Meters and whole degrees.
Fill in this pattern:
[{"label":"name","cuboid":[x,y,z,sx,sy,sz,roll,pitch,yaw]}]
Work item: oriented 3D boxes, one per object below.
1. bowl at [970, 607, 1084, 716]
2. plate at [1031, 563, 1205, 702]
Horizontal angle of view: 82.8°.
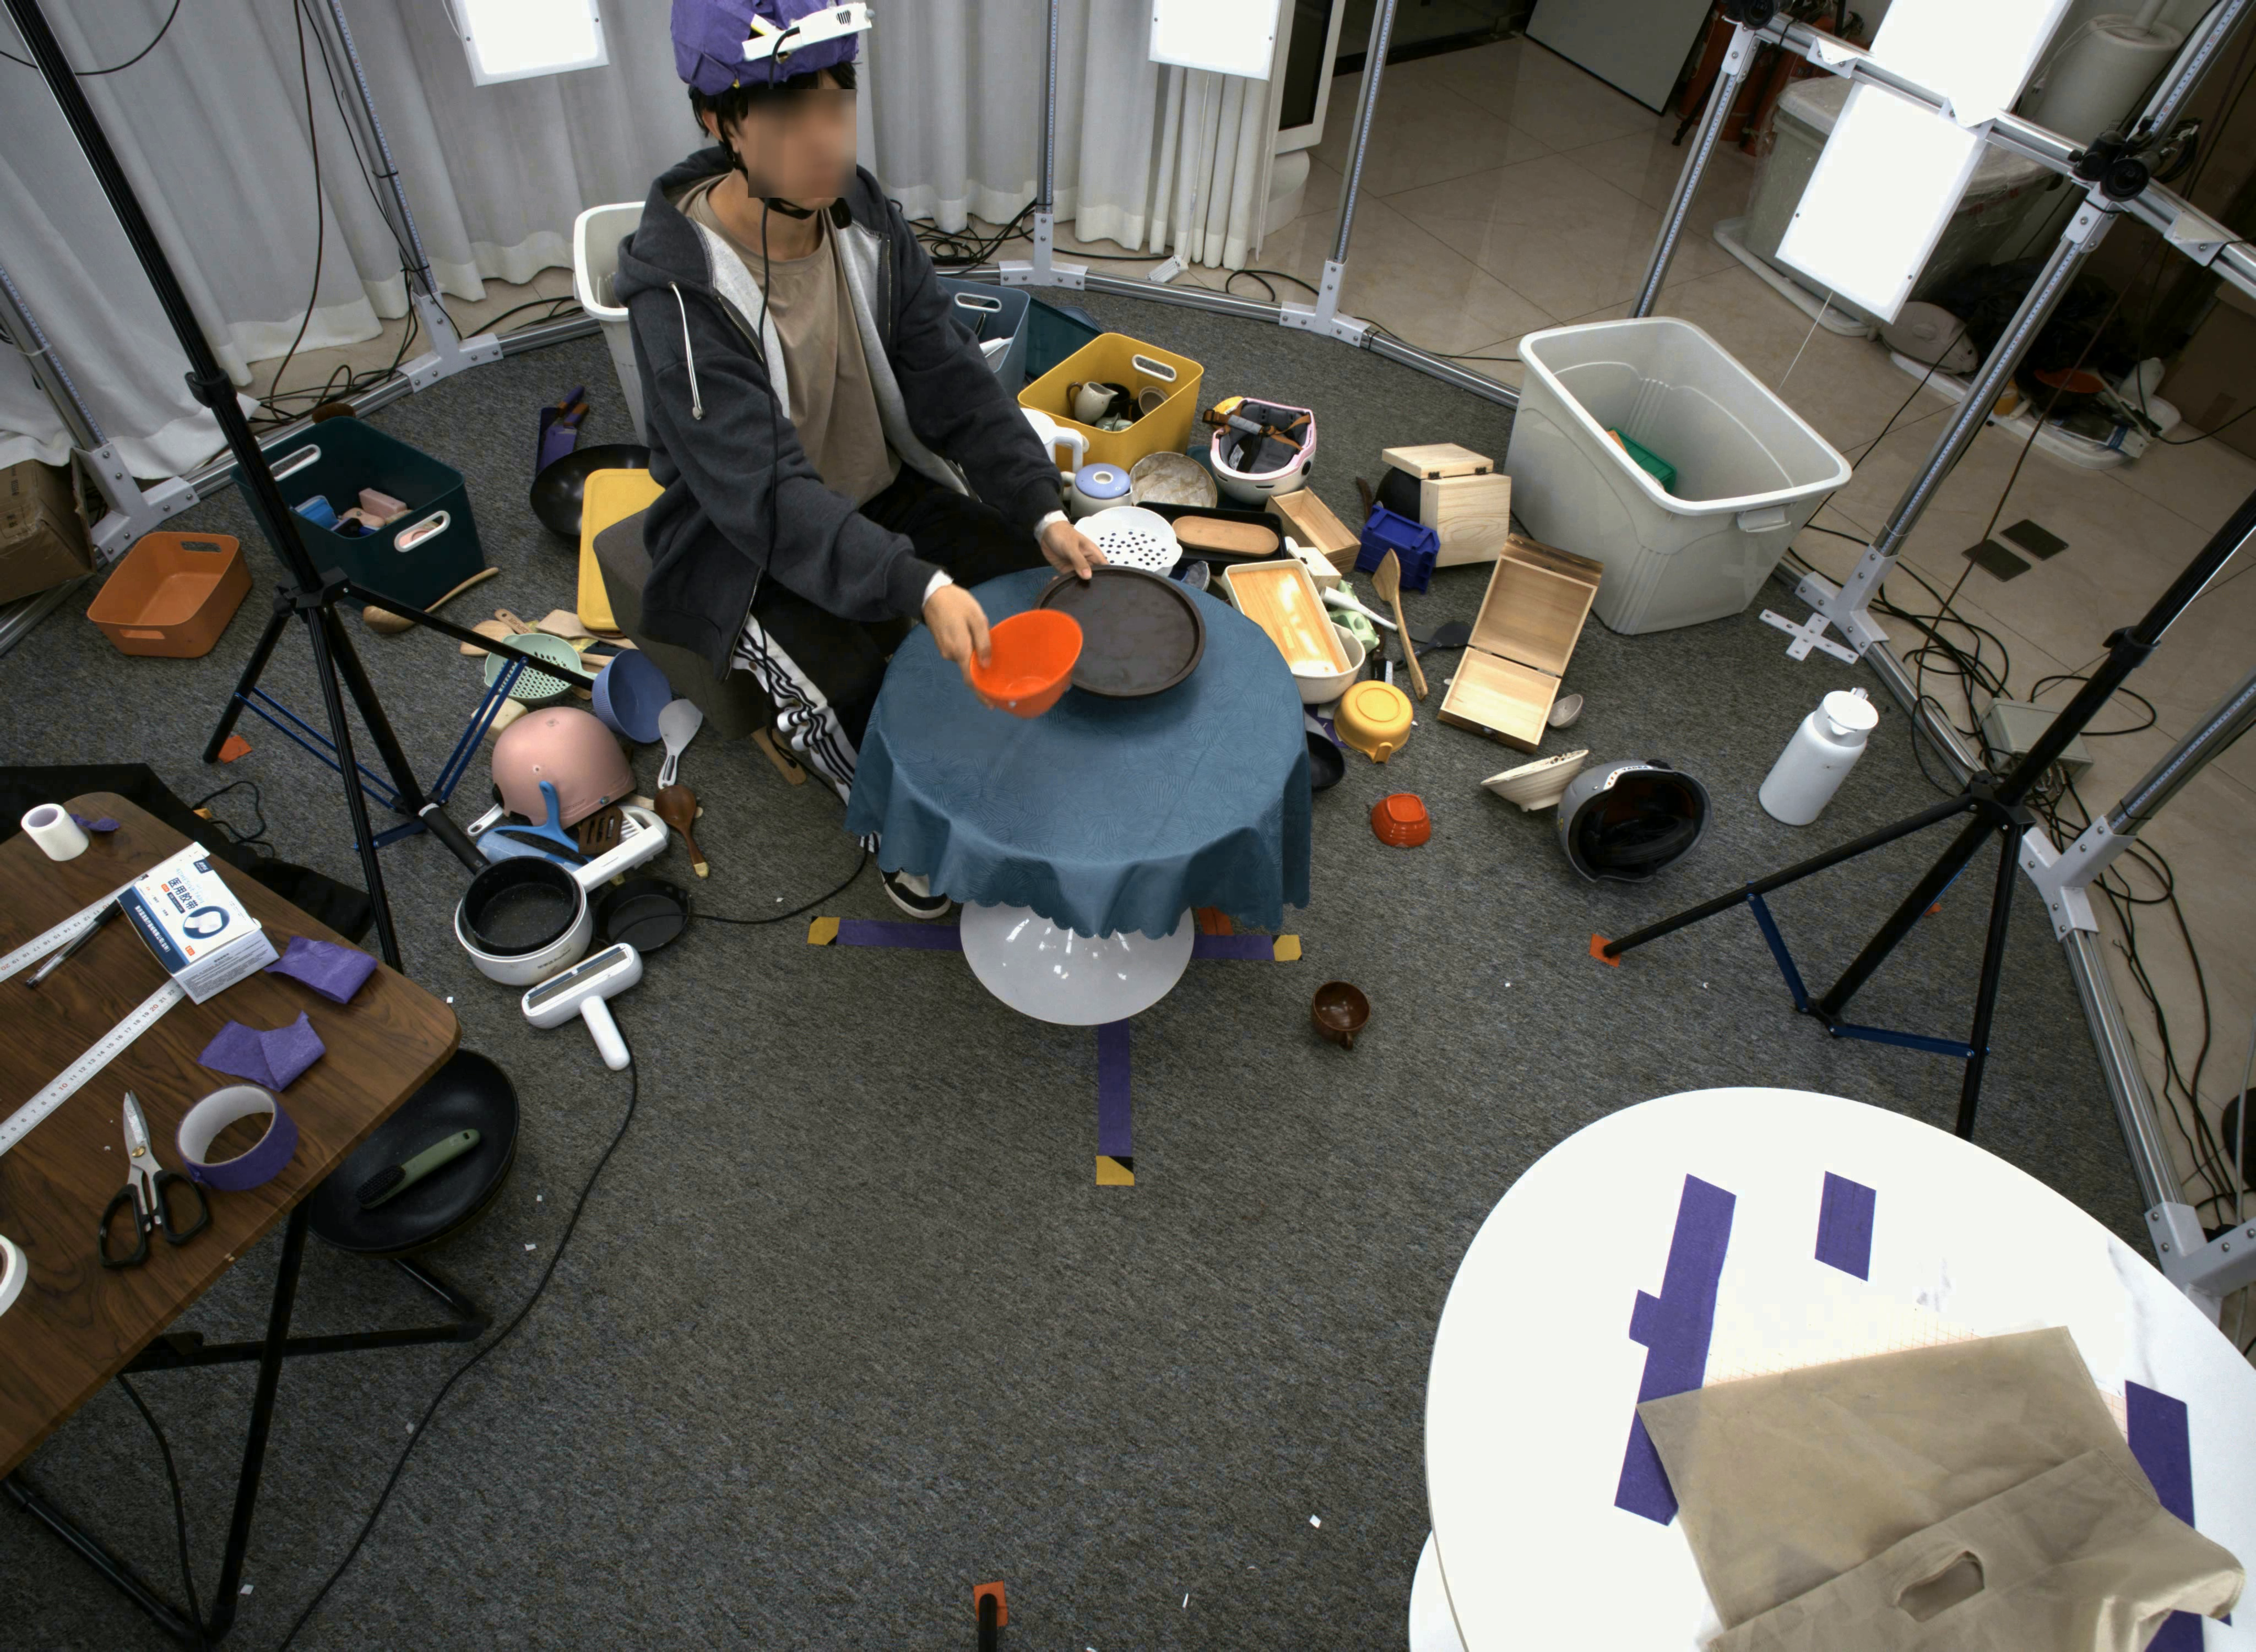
[{"label":"bowl","cuboid":[-0.121,-0.196,1.625,0.148,0.102,0.151,-4,52,5]},{"label":"plate","cuboid":[-0.016,-0.276,1.831,0.254,0.028,0.261,2,55,-4]}]
